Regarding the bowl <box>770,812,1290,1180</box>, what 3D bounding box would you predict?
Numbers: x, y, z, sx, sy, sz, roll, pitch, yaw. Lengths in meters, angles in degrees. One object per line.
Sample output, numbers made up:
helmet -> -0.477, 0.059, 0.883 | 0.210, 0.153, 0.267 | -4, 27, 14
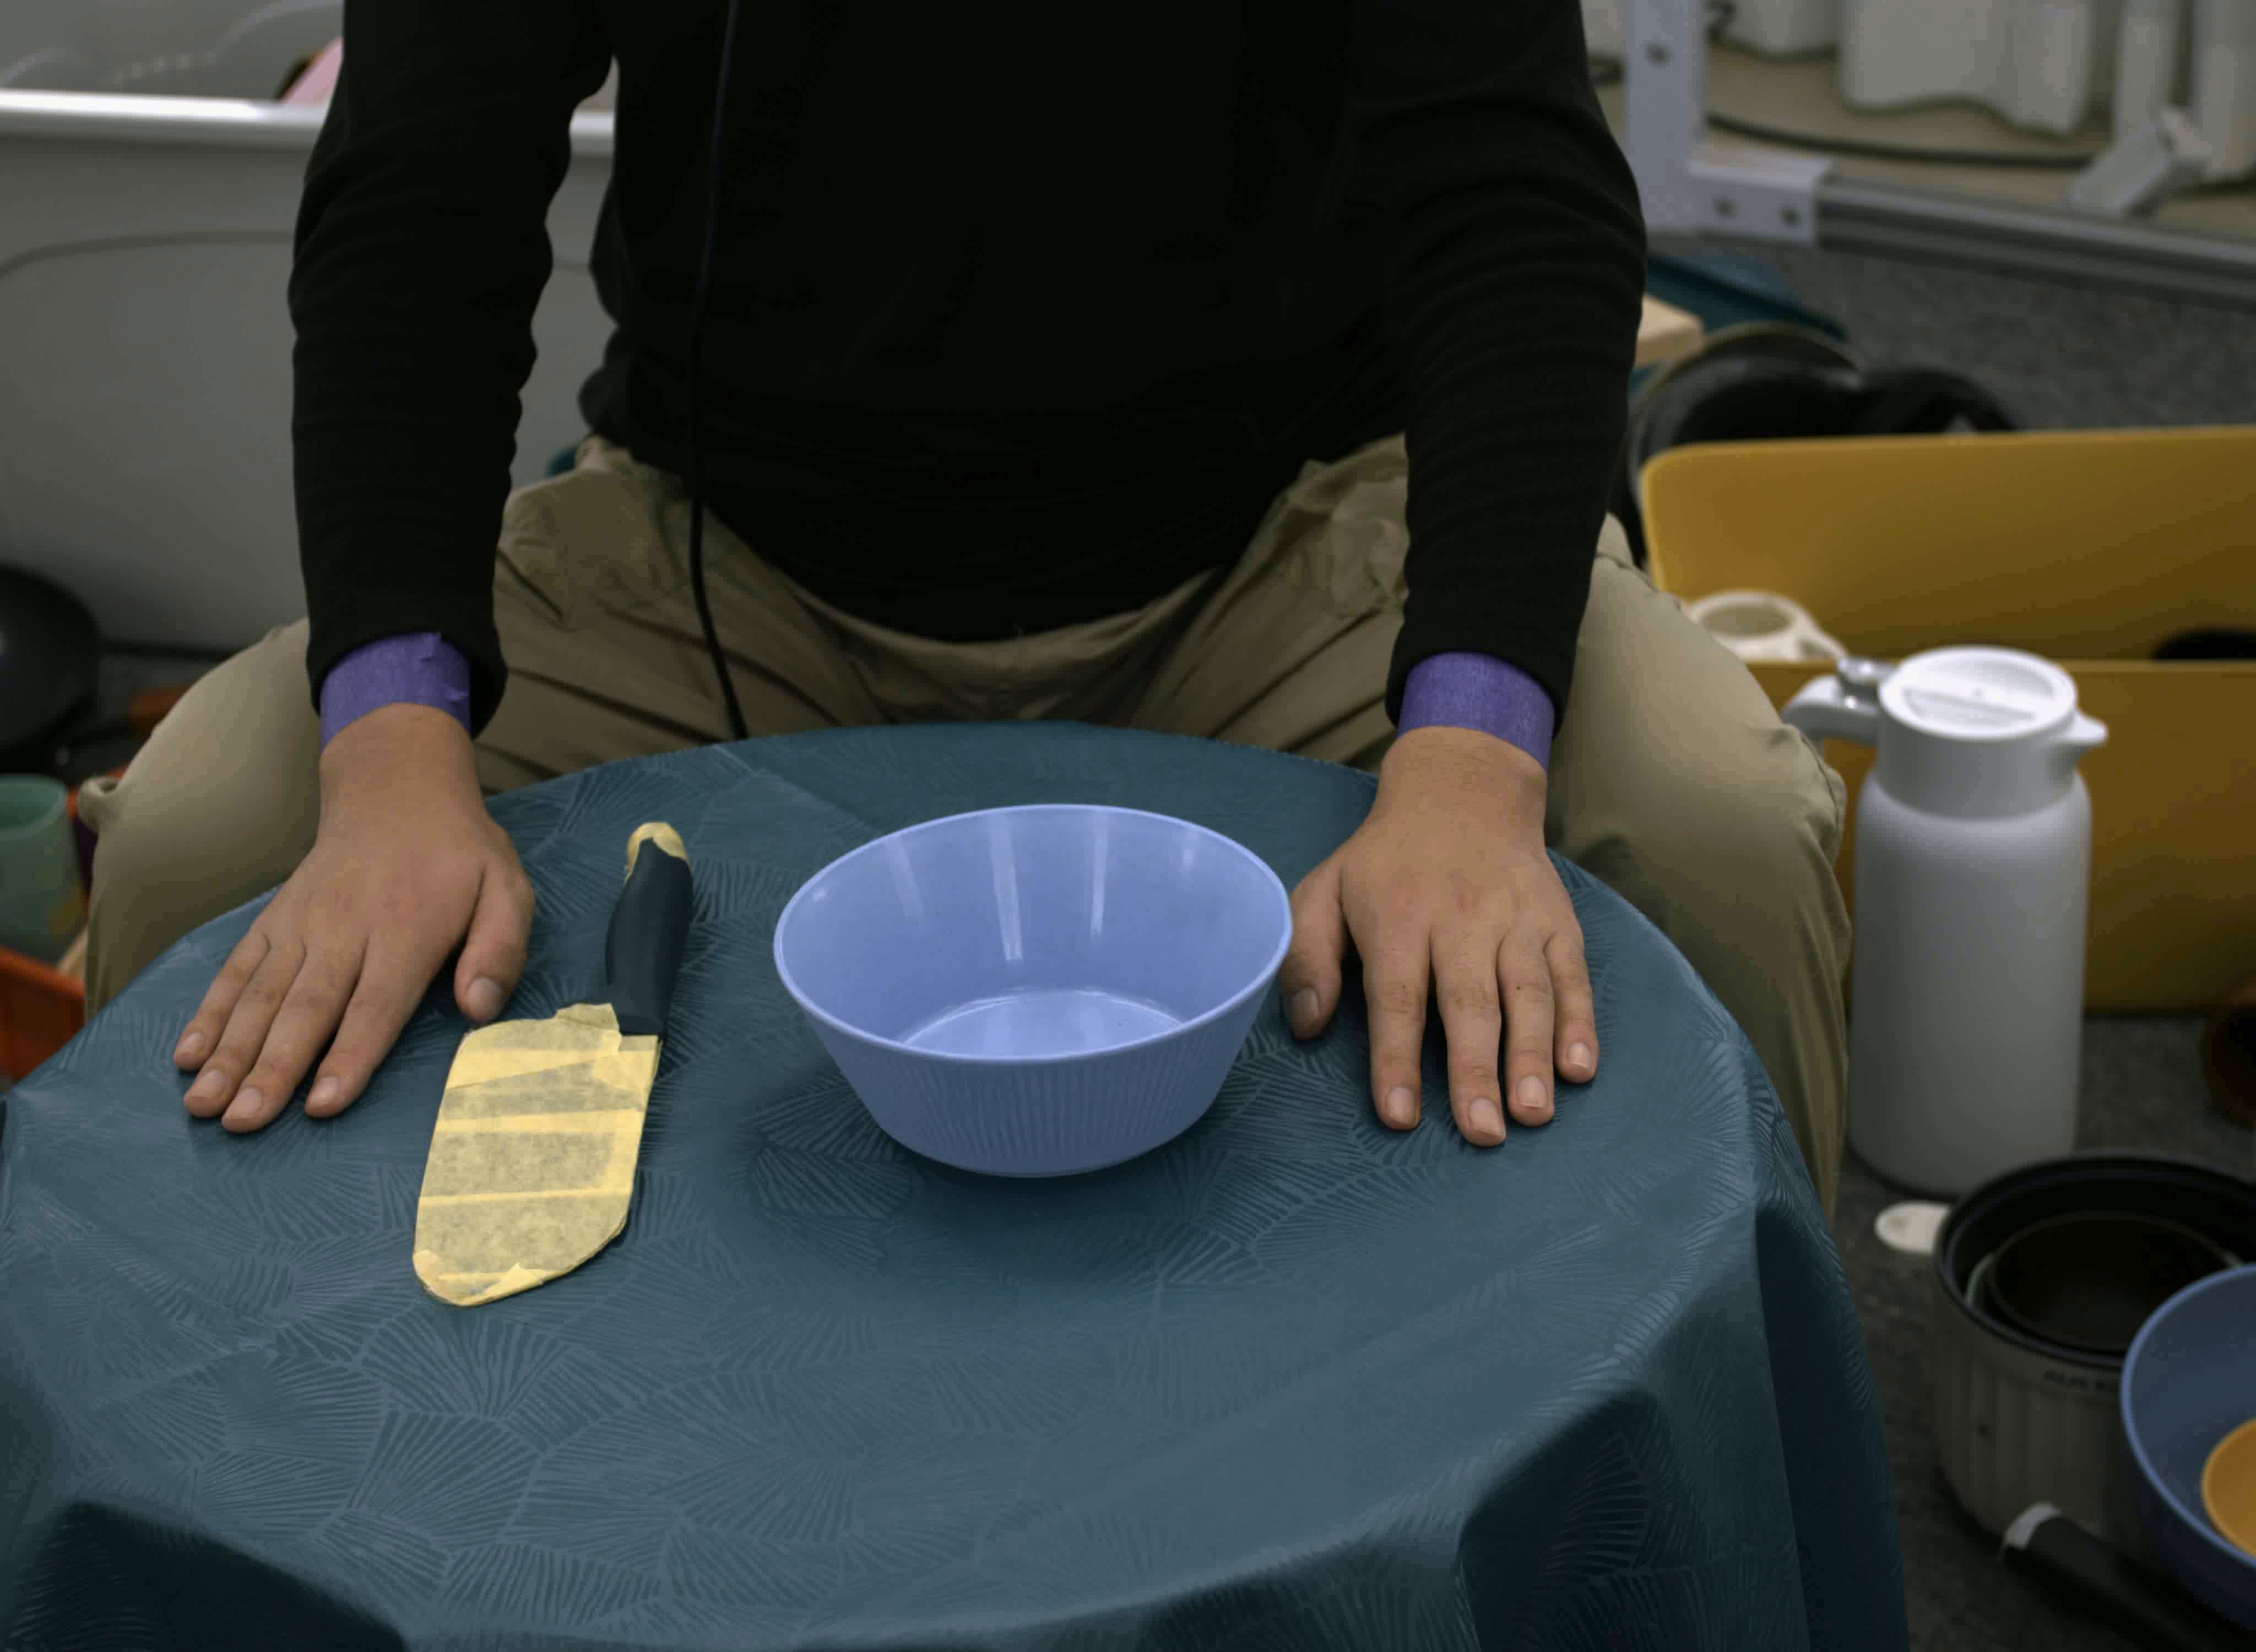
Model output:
bowl -> -0.031, 0.063, 1.902 | 0.175, 0.069, 0.179 | -3, 27, 2

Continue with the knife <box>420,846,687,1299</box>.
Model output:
knife -> -0.195, 0.084, 1.937 | 0.080, 0.027, 0.294 | 1, 28, 5
